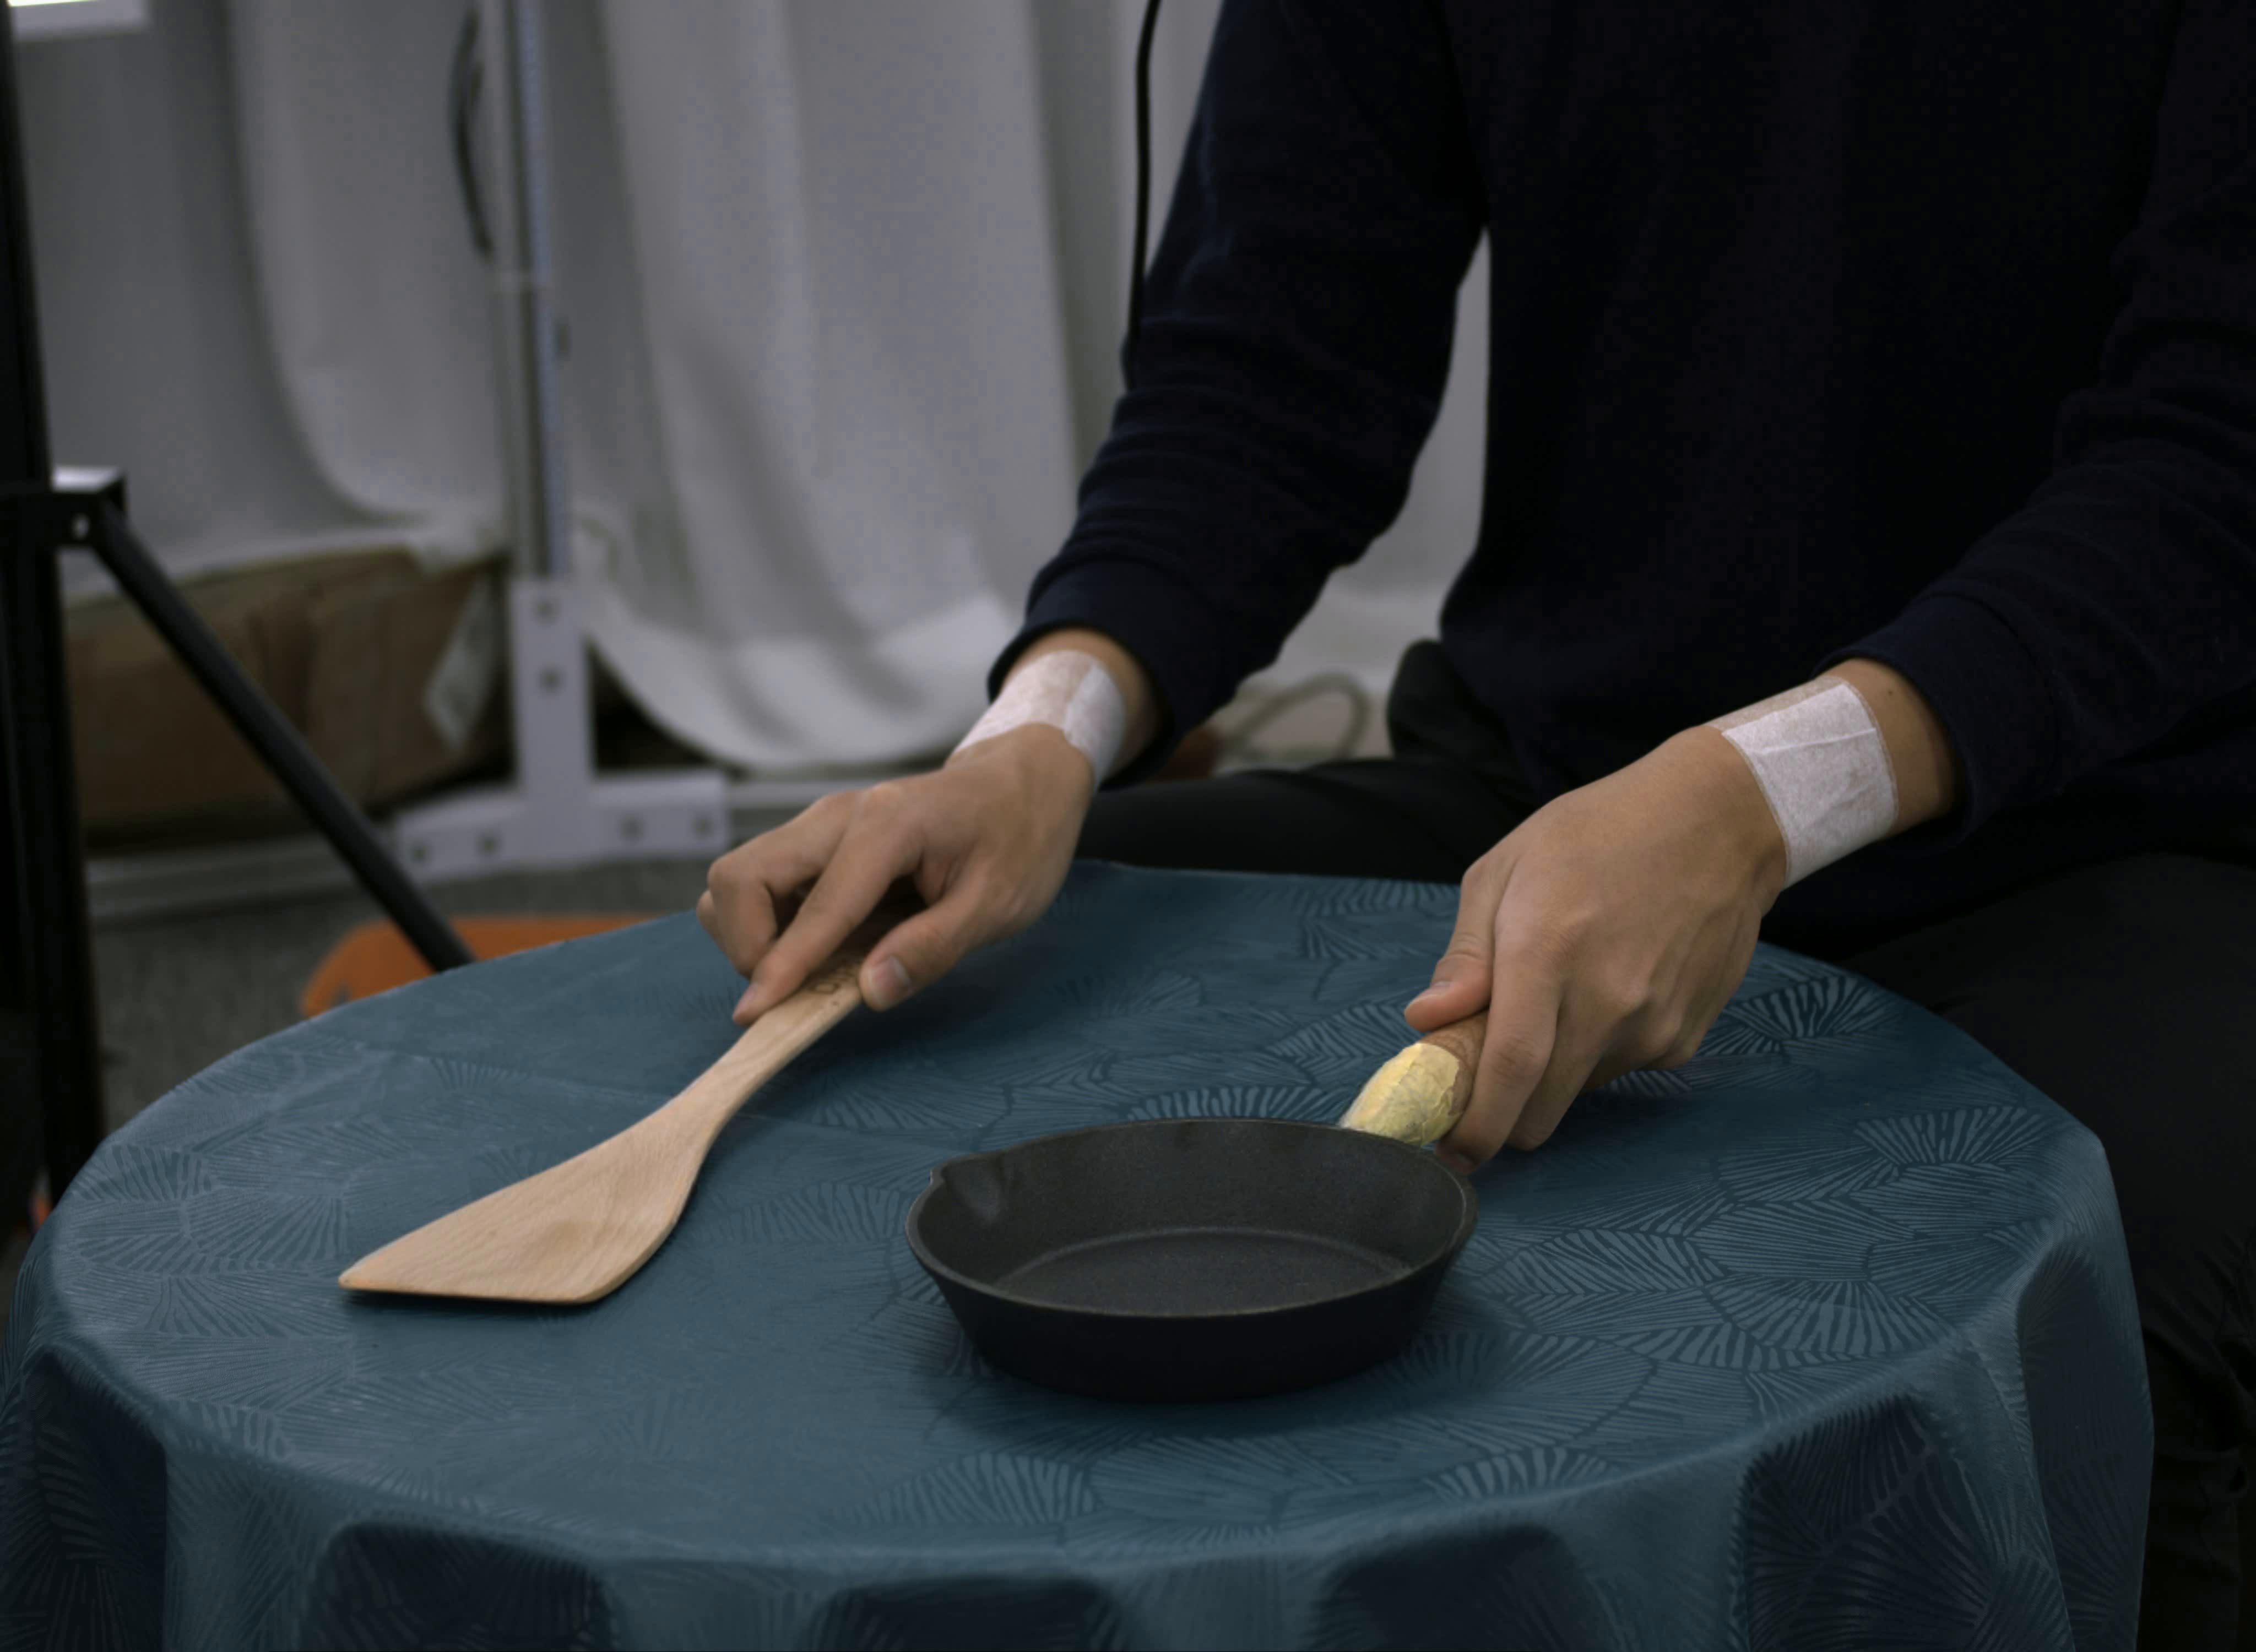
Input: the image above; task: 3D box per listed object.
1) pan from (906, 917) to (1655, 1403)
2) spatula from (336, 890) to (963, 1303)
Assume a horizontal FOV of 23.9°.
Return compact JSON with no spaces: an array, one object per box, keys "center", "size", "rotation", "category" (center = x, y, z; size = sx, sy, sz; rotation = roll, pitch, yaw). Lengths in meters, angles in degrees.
[{"center":[0.067,0.091,1.512],"size":[0.172,0.049,0.318],"rotation":[9,21,36],"category":"pan"},{"center":[-0.126,0.078,1.621],"size":[0.081,0.016,0.323],"rotation":[5,24,24],"category":"spatula"}]
